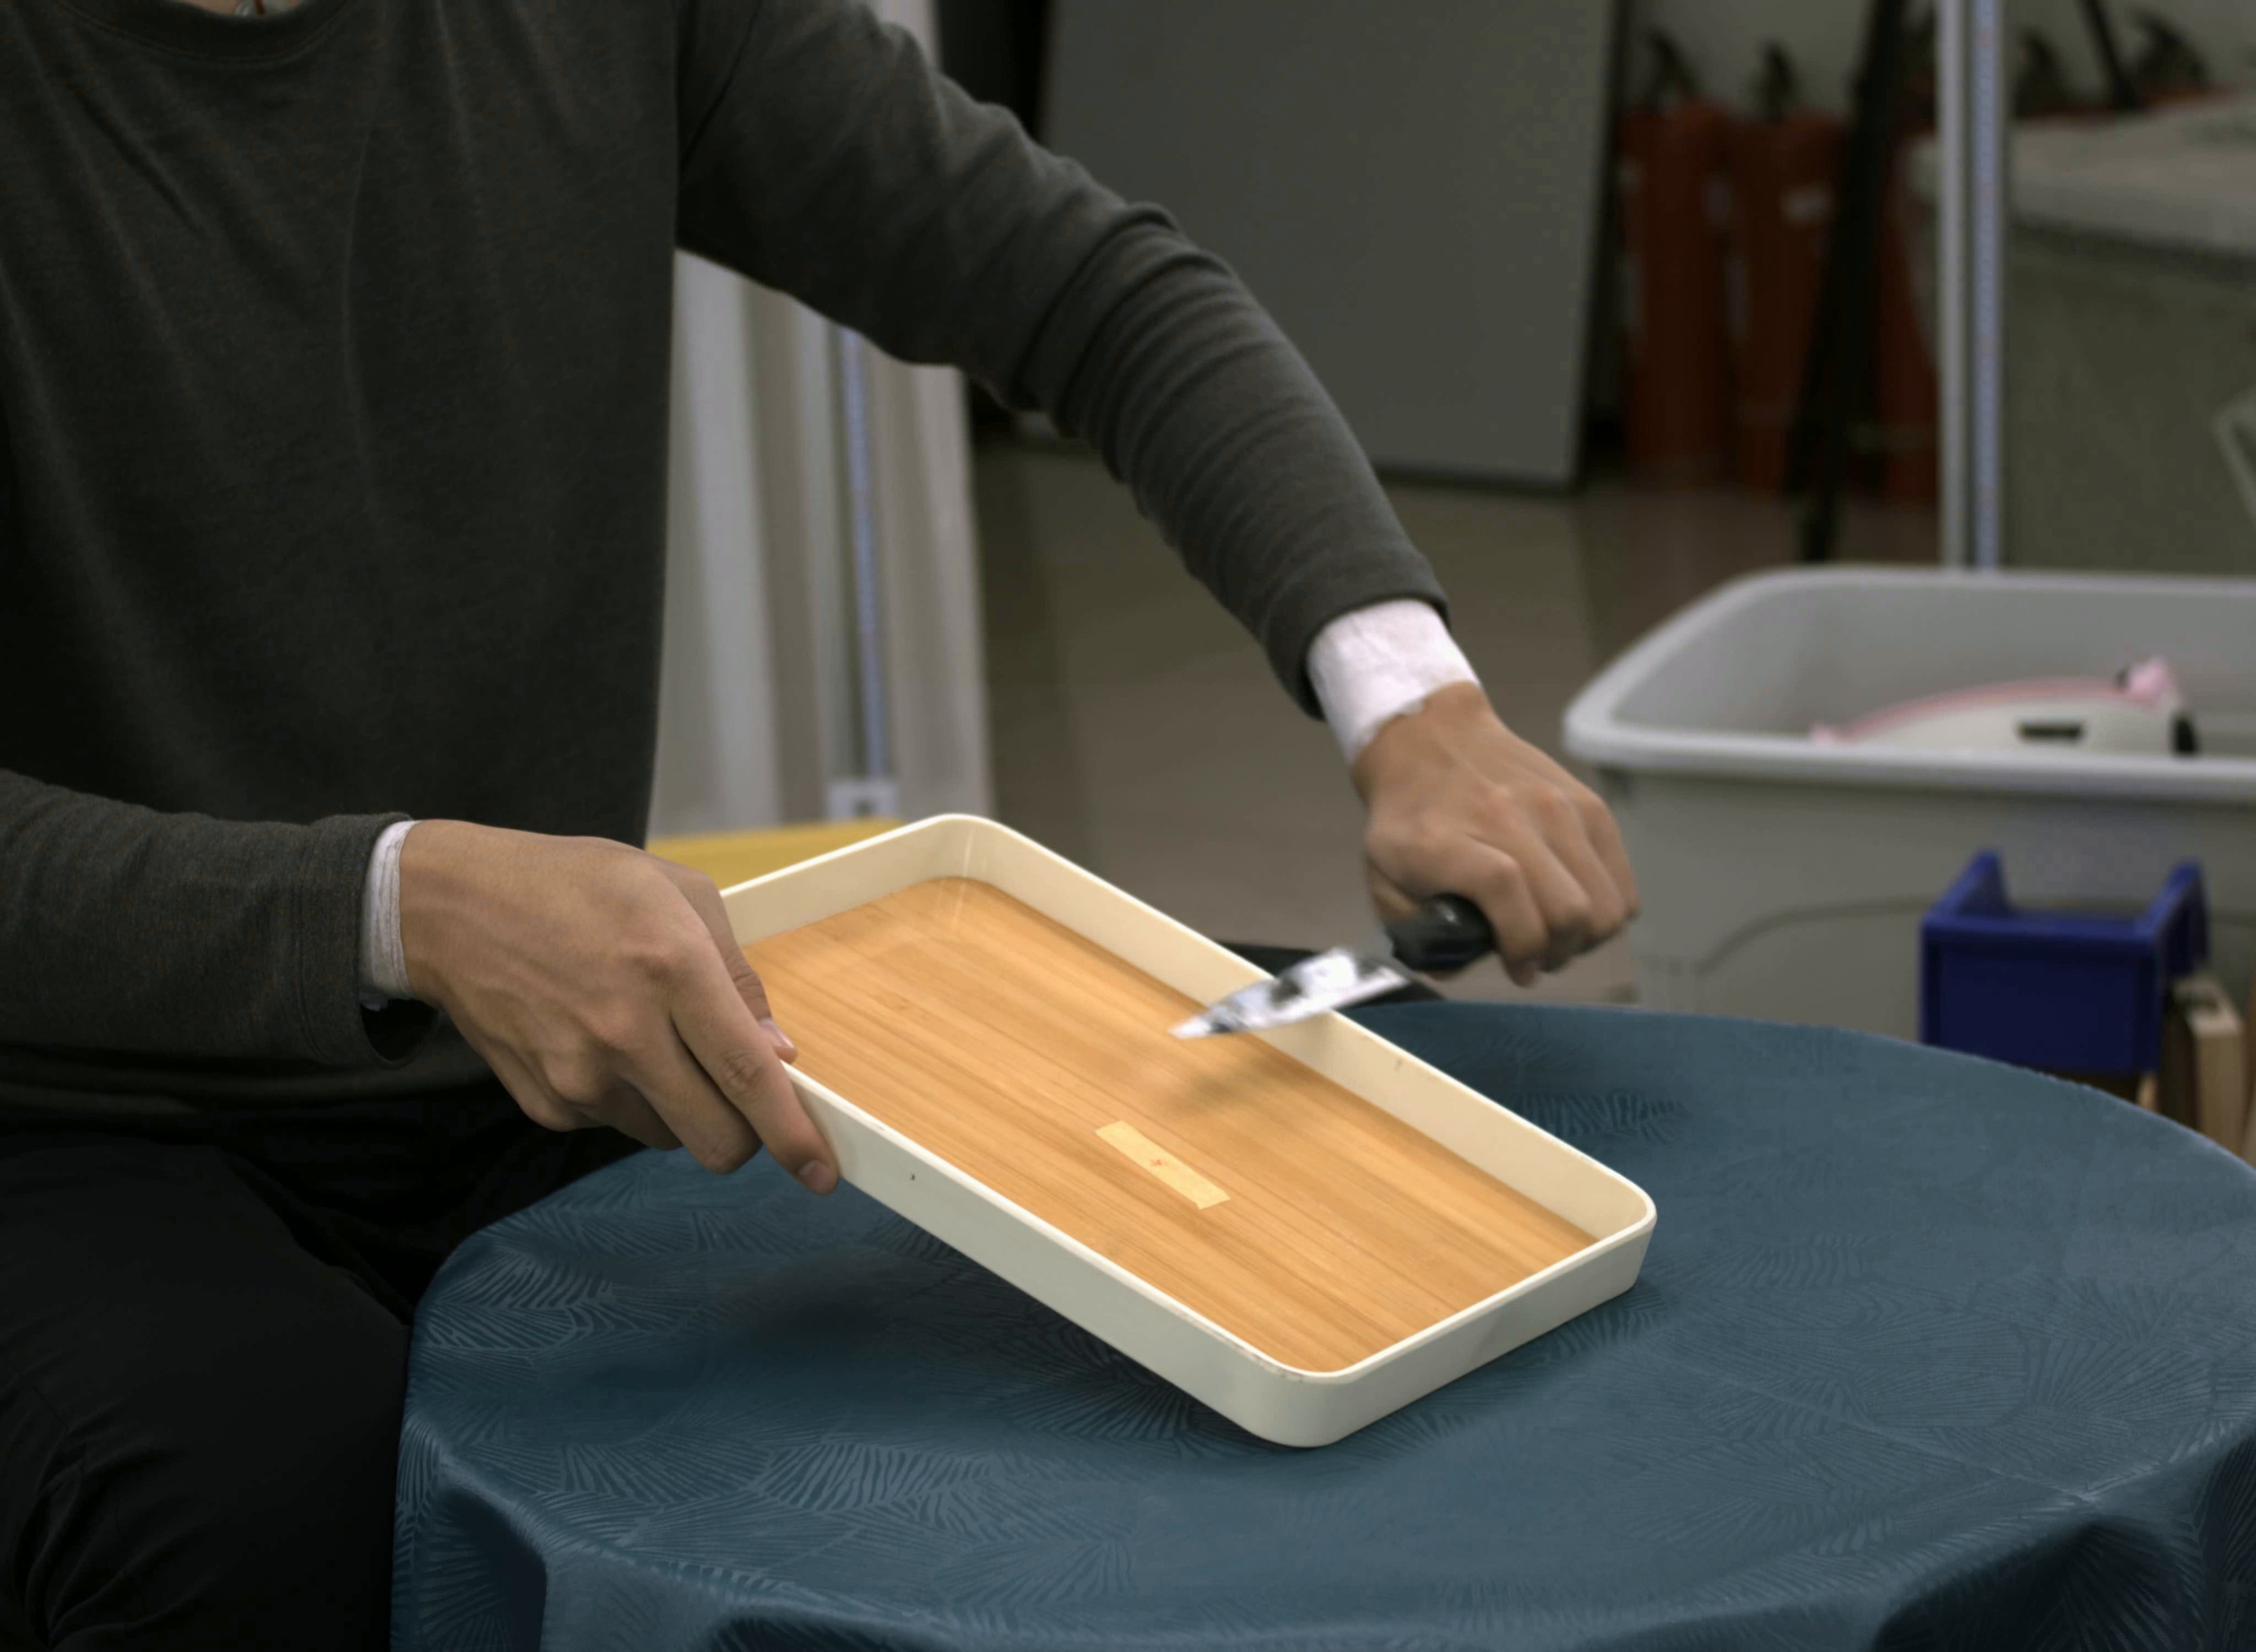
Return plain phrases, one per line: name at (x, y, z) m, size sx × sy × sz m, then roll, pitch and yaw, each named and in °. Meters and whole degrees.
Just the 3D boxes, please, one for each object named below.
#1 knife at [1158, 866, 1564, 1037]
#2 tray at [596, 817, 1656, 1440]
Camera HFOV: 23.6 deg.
knife at (0.076, 0.042, 1.763) m, size 0.024 × 0.016 × 0.234 m, roll 34°, pitch 28°, yaw 26°
tray at (-0.002, 0.087, 1.663) m, size 0.303 × 0.028 × 0.188 m, roll 29°, pitch 29°, yaw 32°
